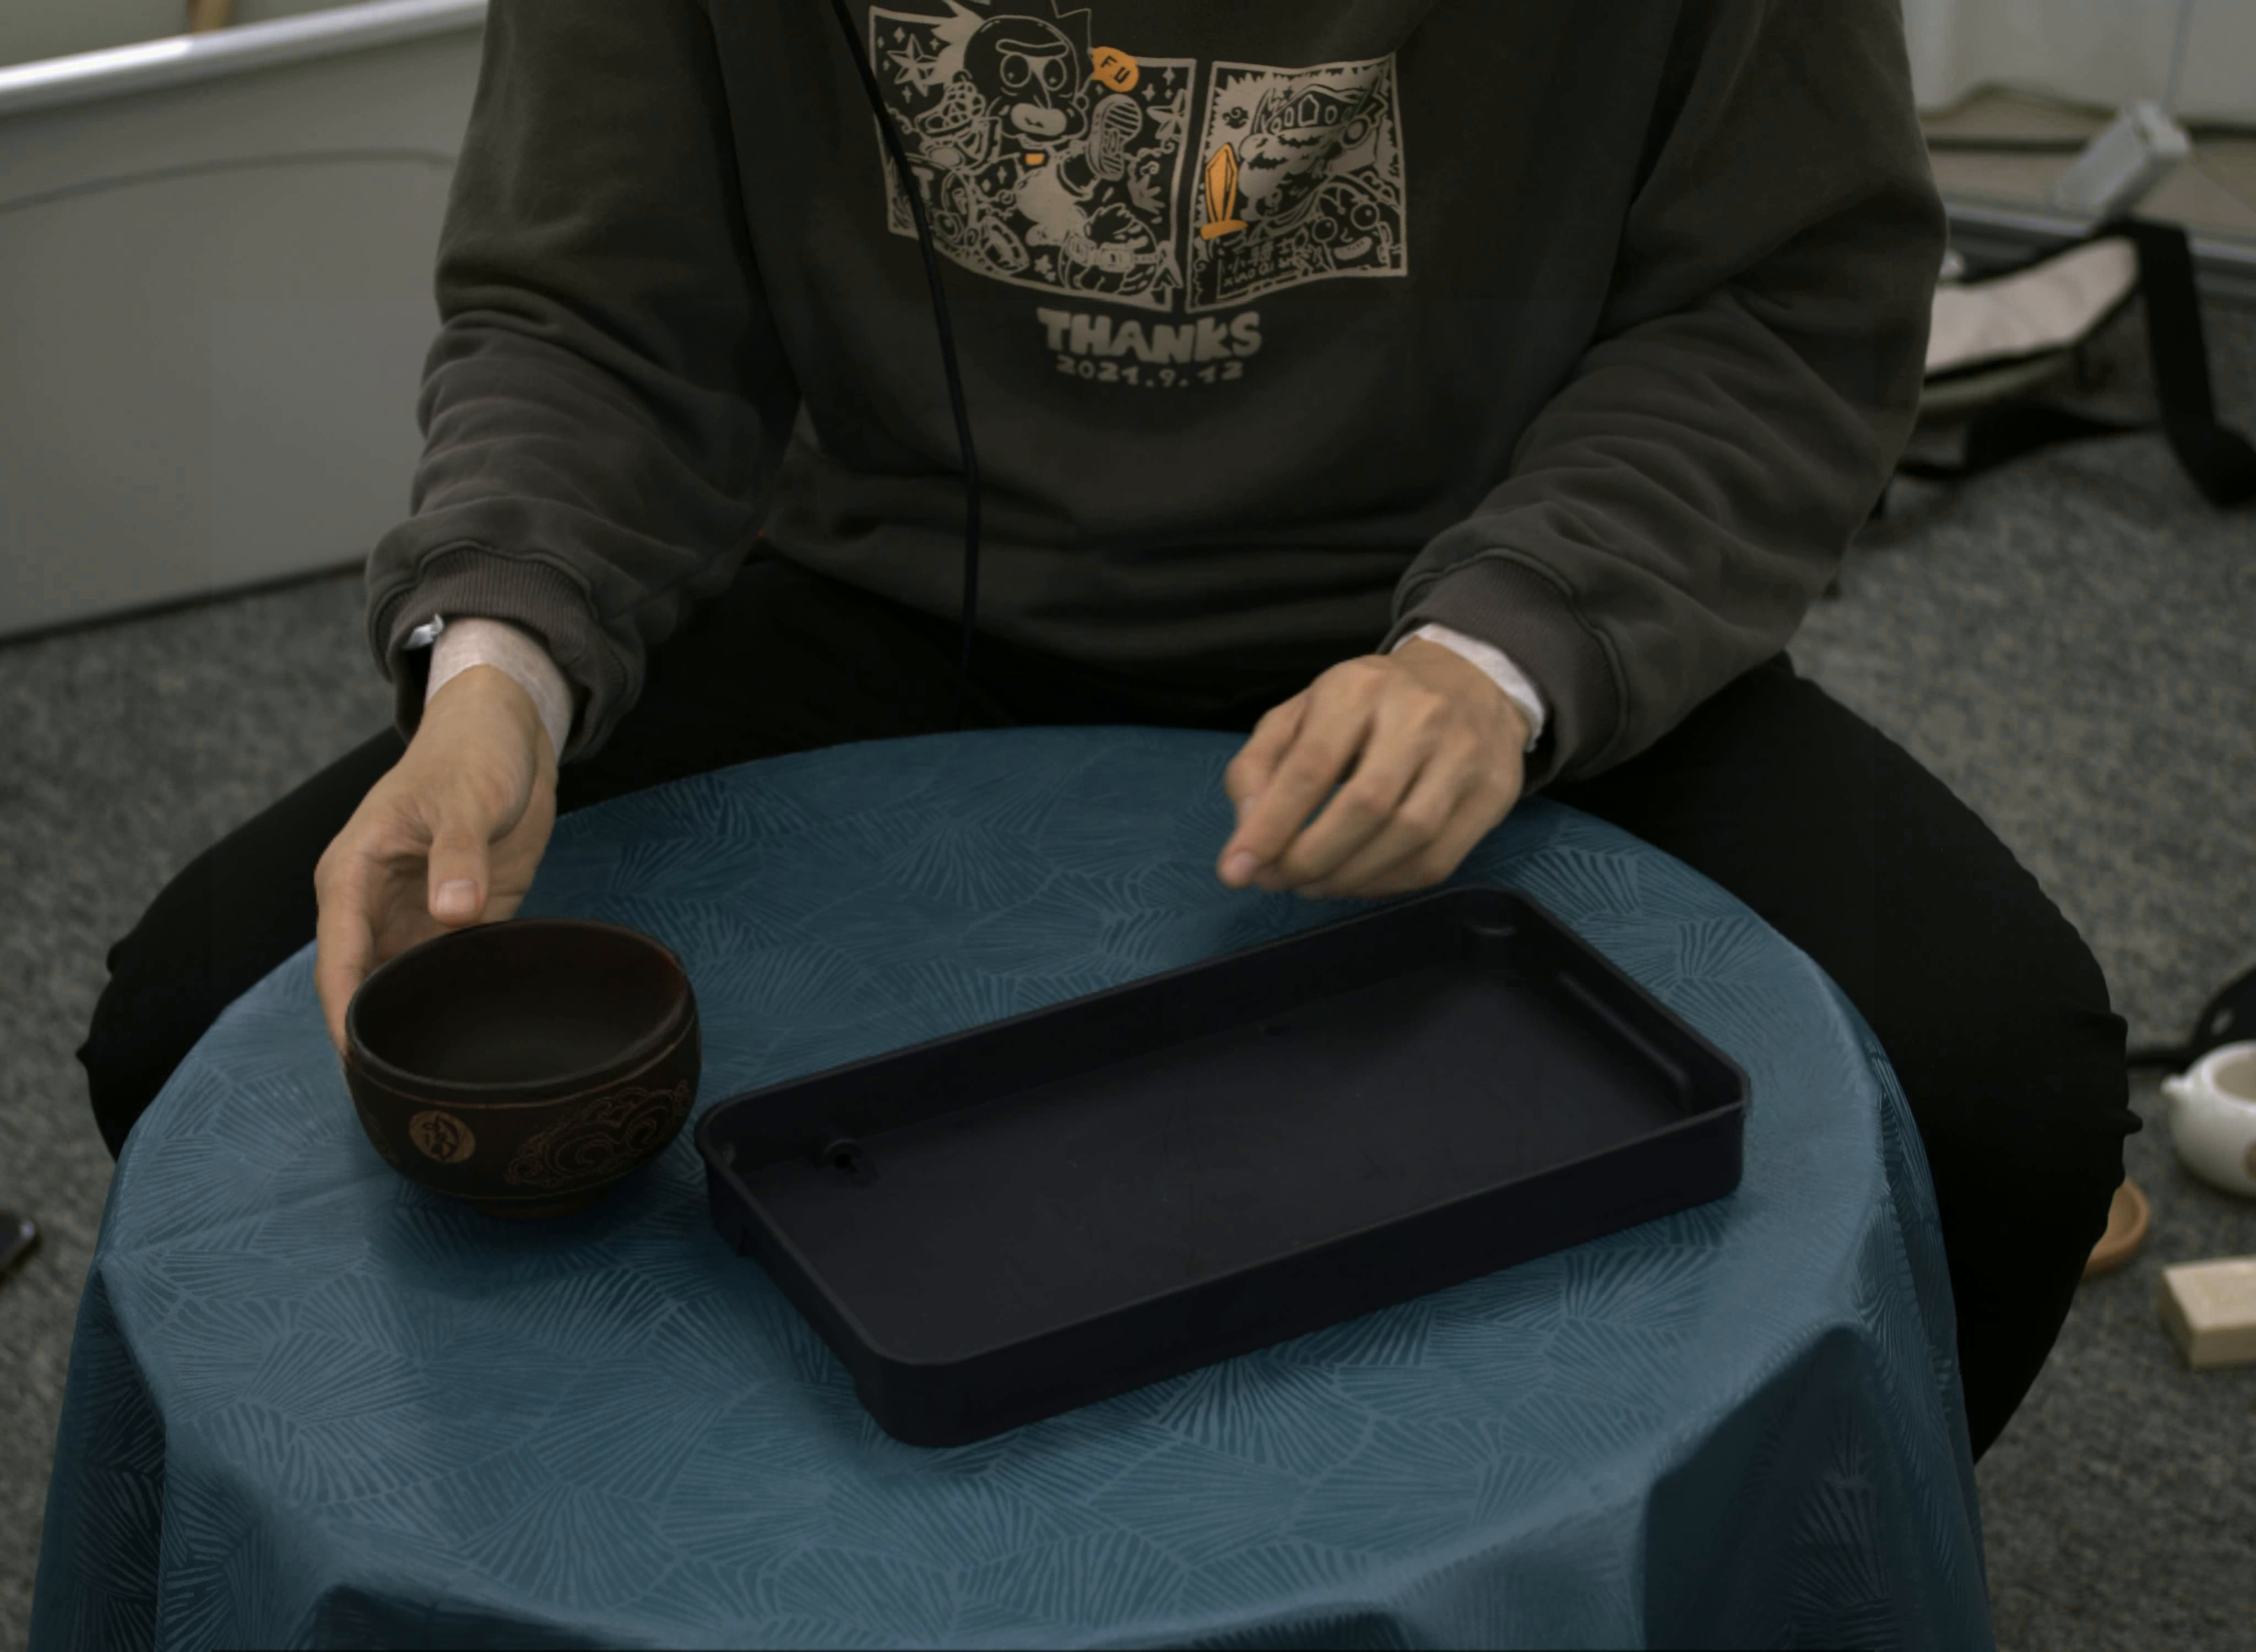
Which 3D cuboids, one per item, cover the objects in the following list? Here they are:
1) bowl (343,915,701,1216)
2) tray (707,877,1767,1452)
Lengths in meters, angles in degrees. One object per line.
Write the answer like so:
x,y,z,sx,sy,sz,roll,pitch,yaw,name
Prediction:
-0.200,0.087,1.870,0.117,0.069,0.120,-2,26,1,bowl
0.036,0.106,1.850,0.320,0.036,0.185,-17,30,-24,tray
